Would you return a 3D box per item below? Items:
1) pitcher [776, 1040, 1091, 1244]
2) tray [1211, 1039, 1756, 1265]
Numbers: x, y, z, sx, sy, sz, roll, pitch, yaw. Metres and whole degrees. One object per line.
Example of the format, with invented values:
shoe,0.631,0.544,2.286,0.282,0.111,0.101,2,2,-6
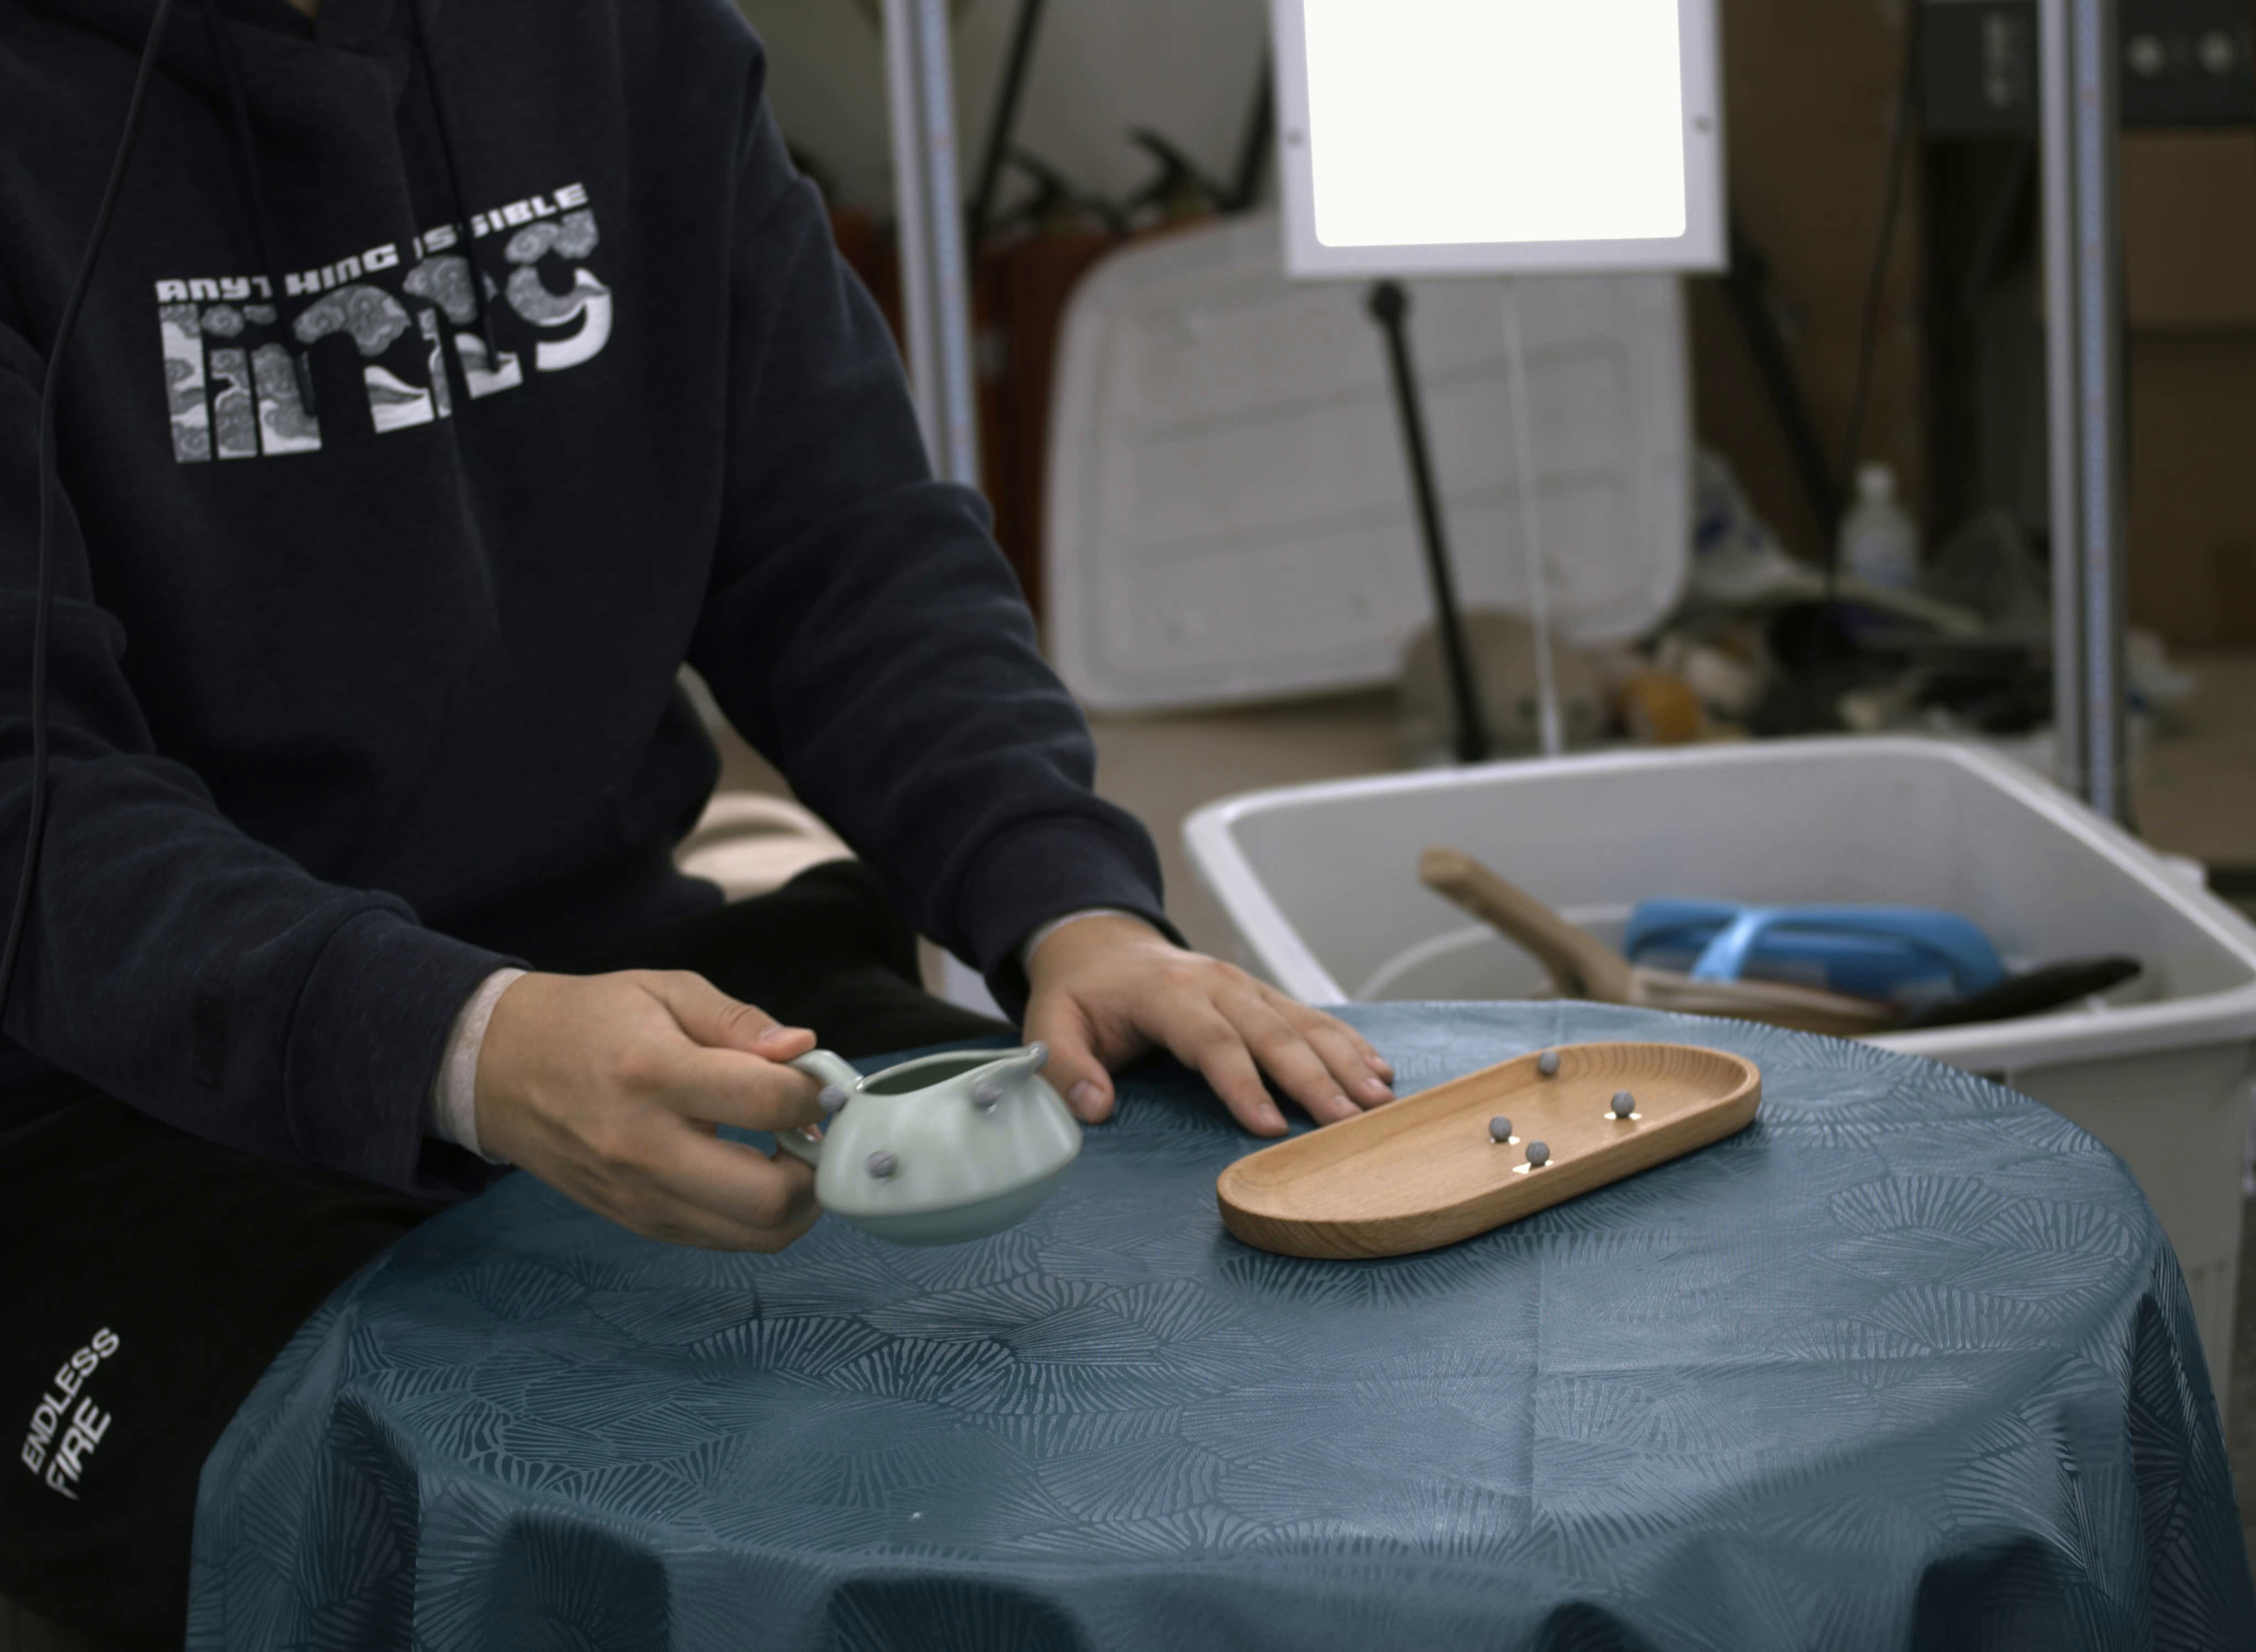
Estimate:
pitcher,-0.065,0.099,1.753,0.110,0.060,0.084,-7,11,32
tray,0.125,0.111,1.887,0.225,0.020,0.104,-20,18,-40
